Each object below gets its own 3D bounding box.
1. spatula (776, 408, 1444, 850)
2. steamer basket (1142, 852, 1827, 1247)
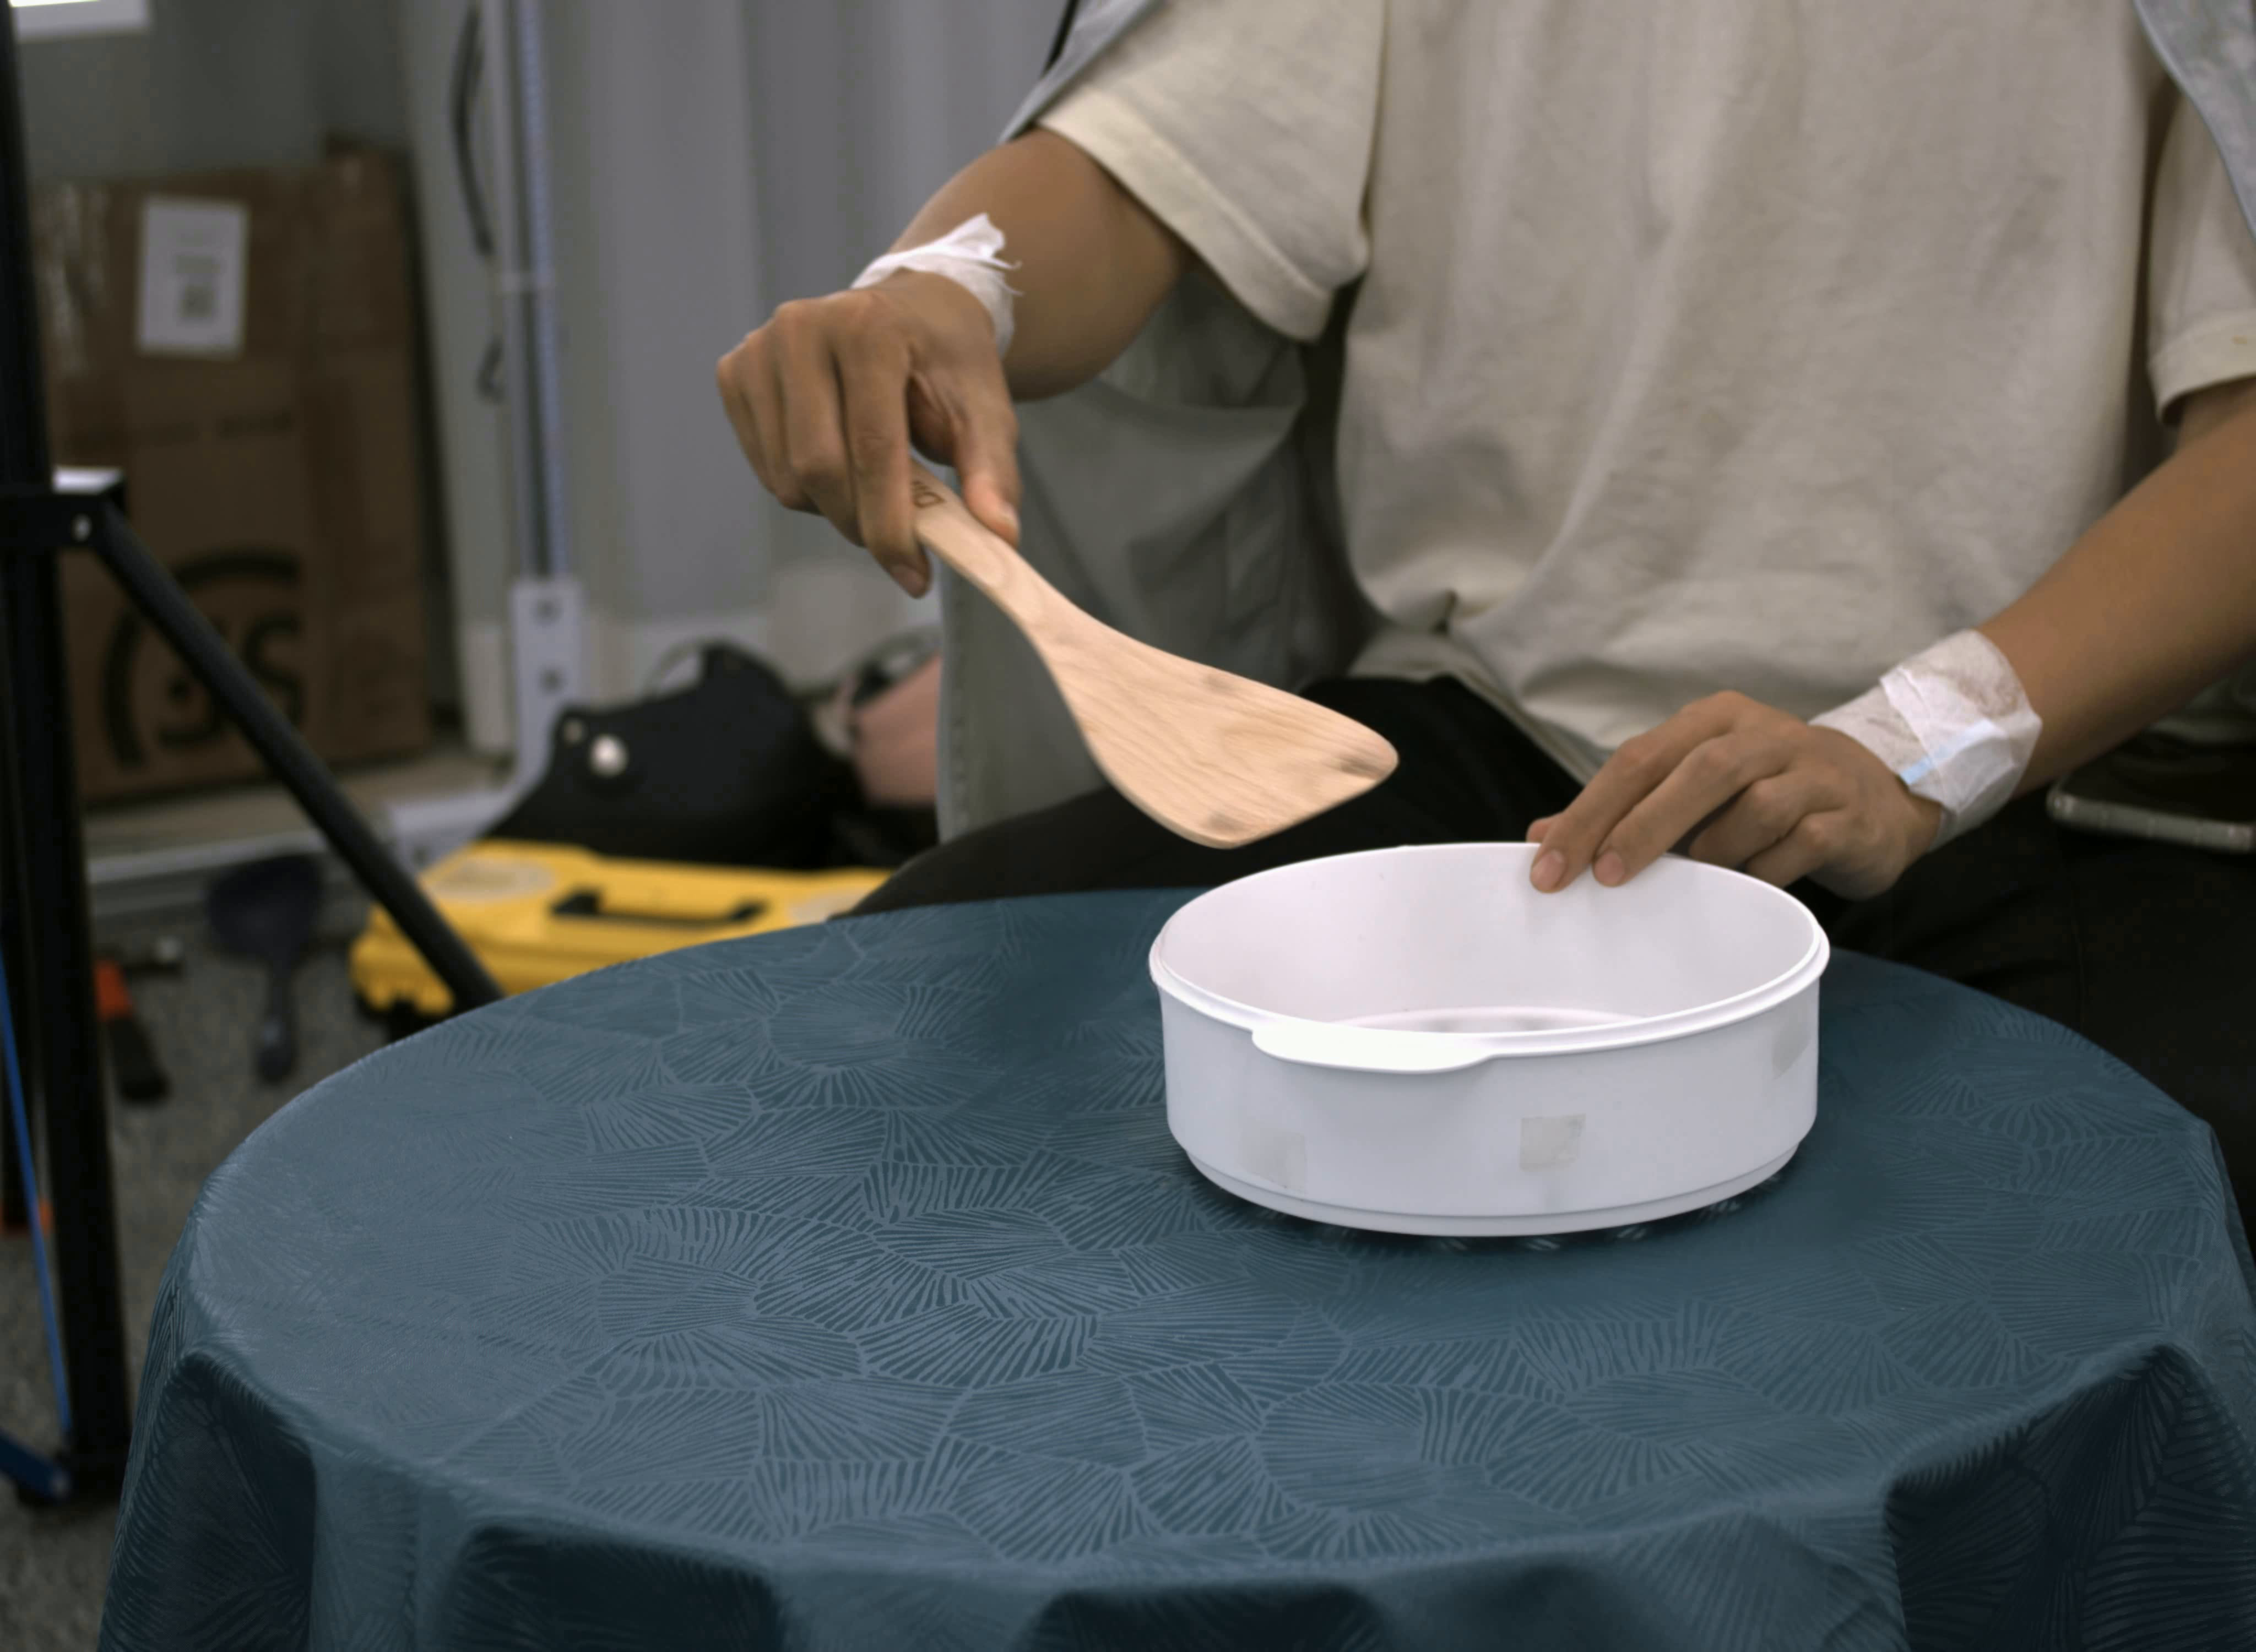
[{"bbox_3d":[-0.020,-0.068,1.629,0.078,0.016,0.335,-19,35,-26],"label":"spatula"},{"bbox_3d":[0.105,0.066,1.568,0.205,0.069,0.227,6,17,25],"label":"steamer basket"}]
